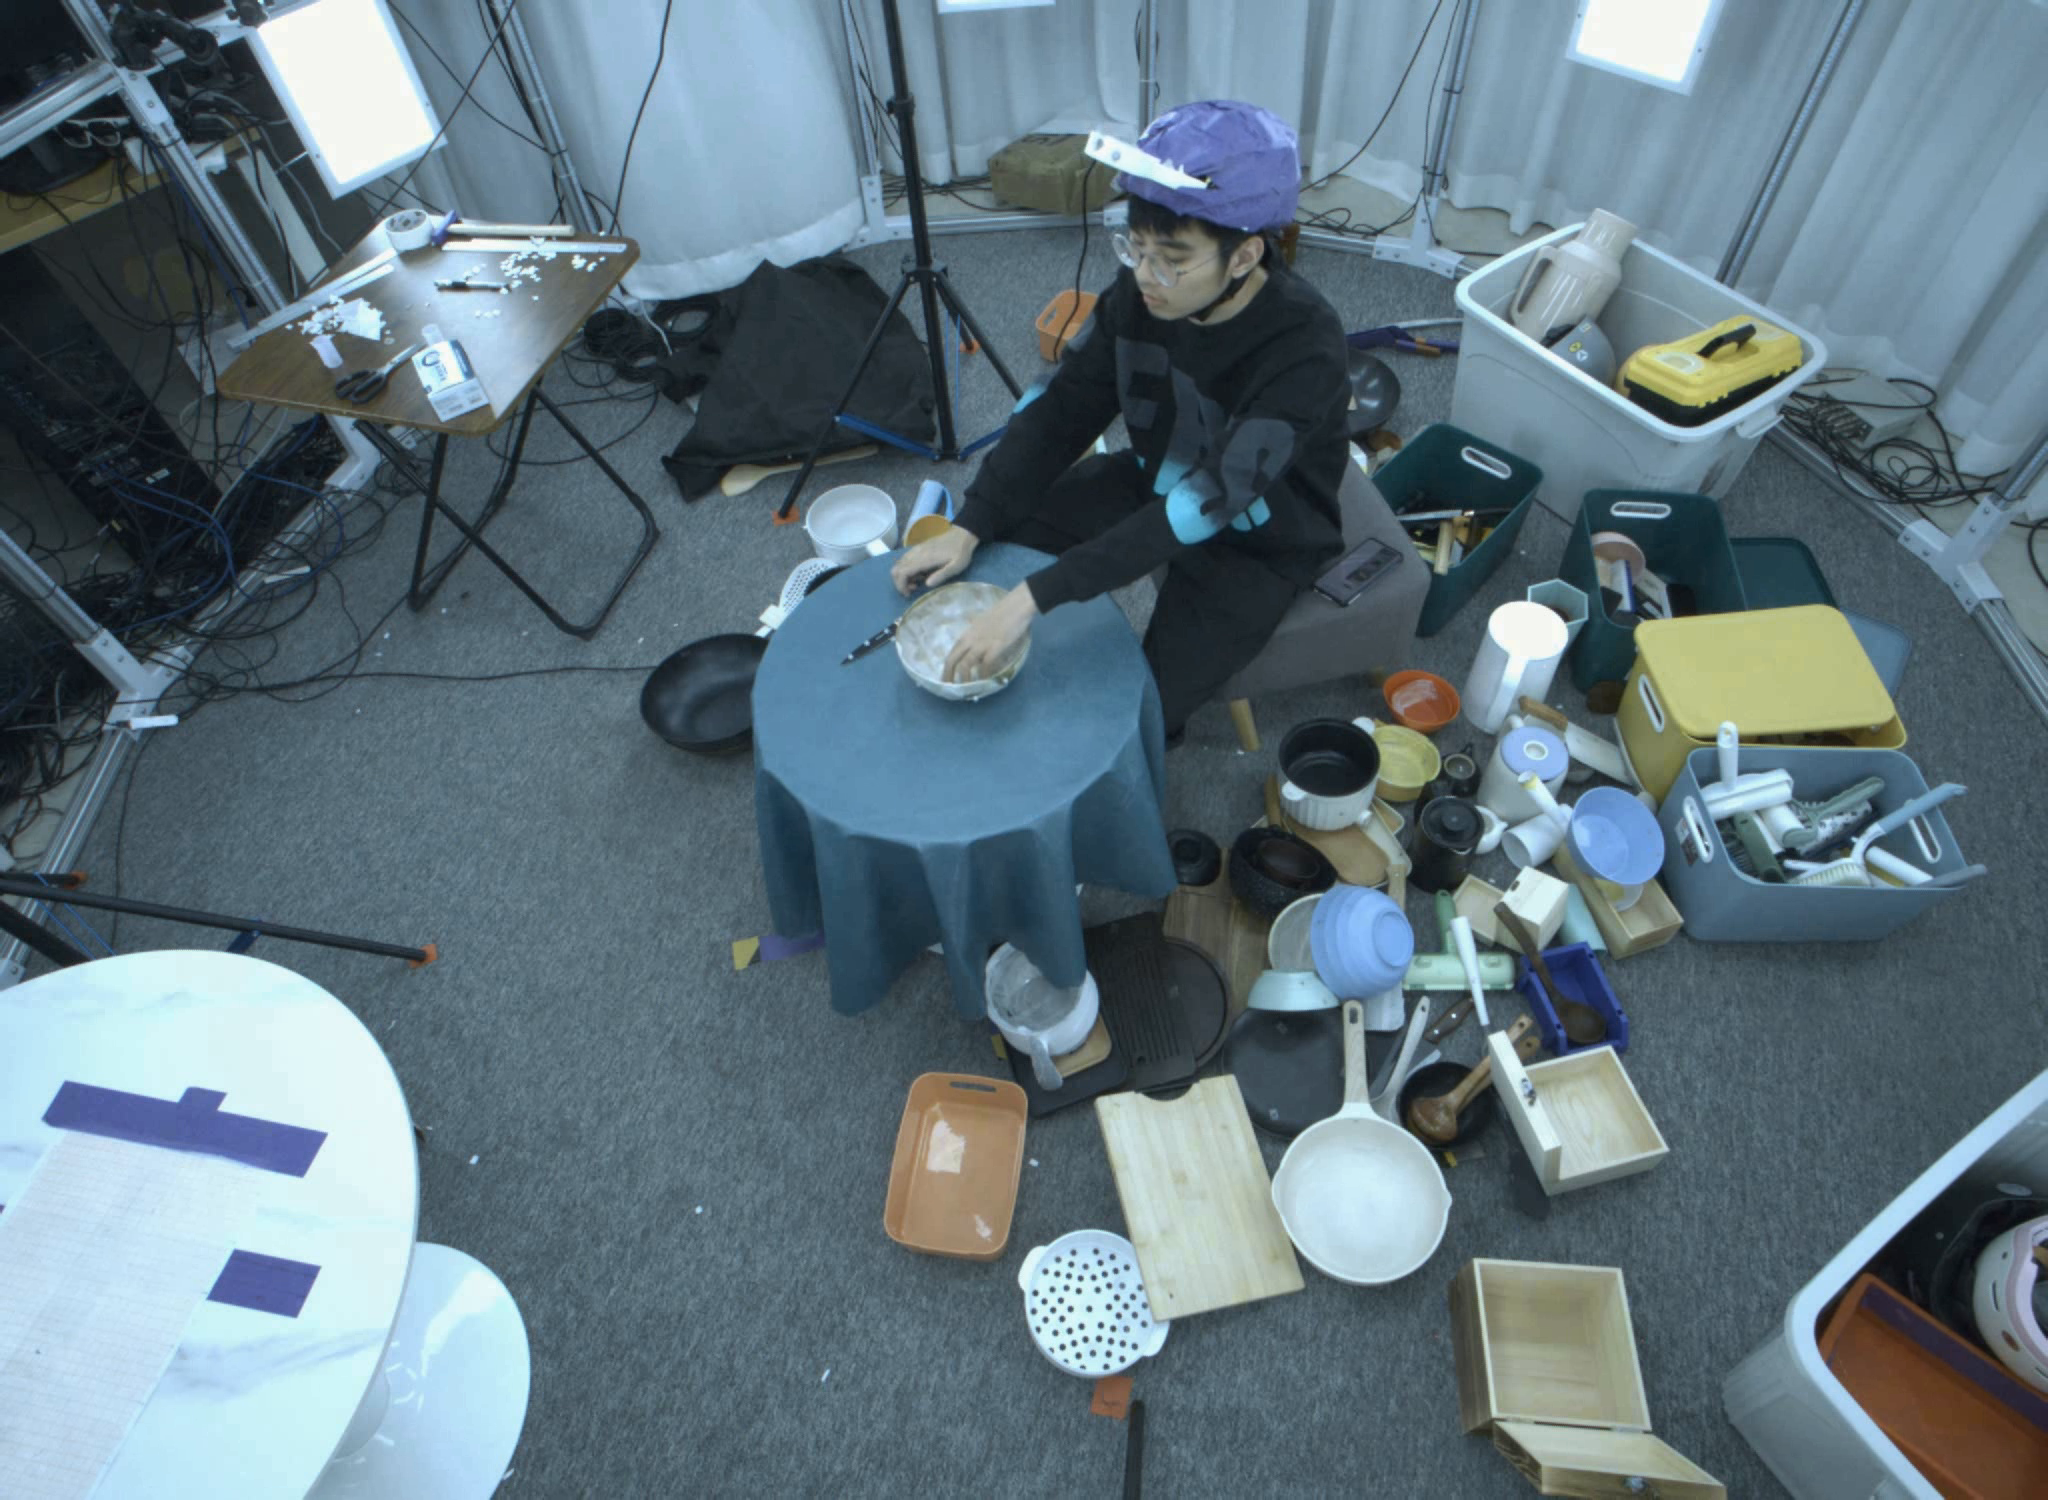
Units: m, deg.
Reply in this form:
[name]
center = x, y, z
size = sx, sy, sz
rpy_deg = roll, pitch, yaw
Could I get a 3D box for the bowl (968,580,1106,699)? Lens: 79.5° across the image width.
[bowl]
center = 0.025, -0.152, 1.835
size = 0.214, 0.096, 0.212
rpy_deg = -1, 55, 3

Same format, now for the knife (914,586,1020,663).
[knife]
center = -0.085, -0.200, 1.925
size = 0.227, 0.017, 0.026
rpy_deg = -34, 66, -19
